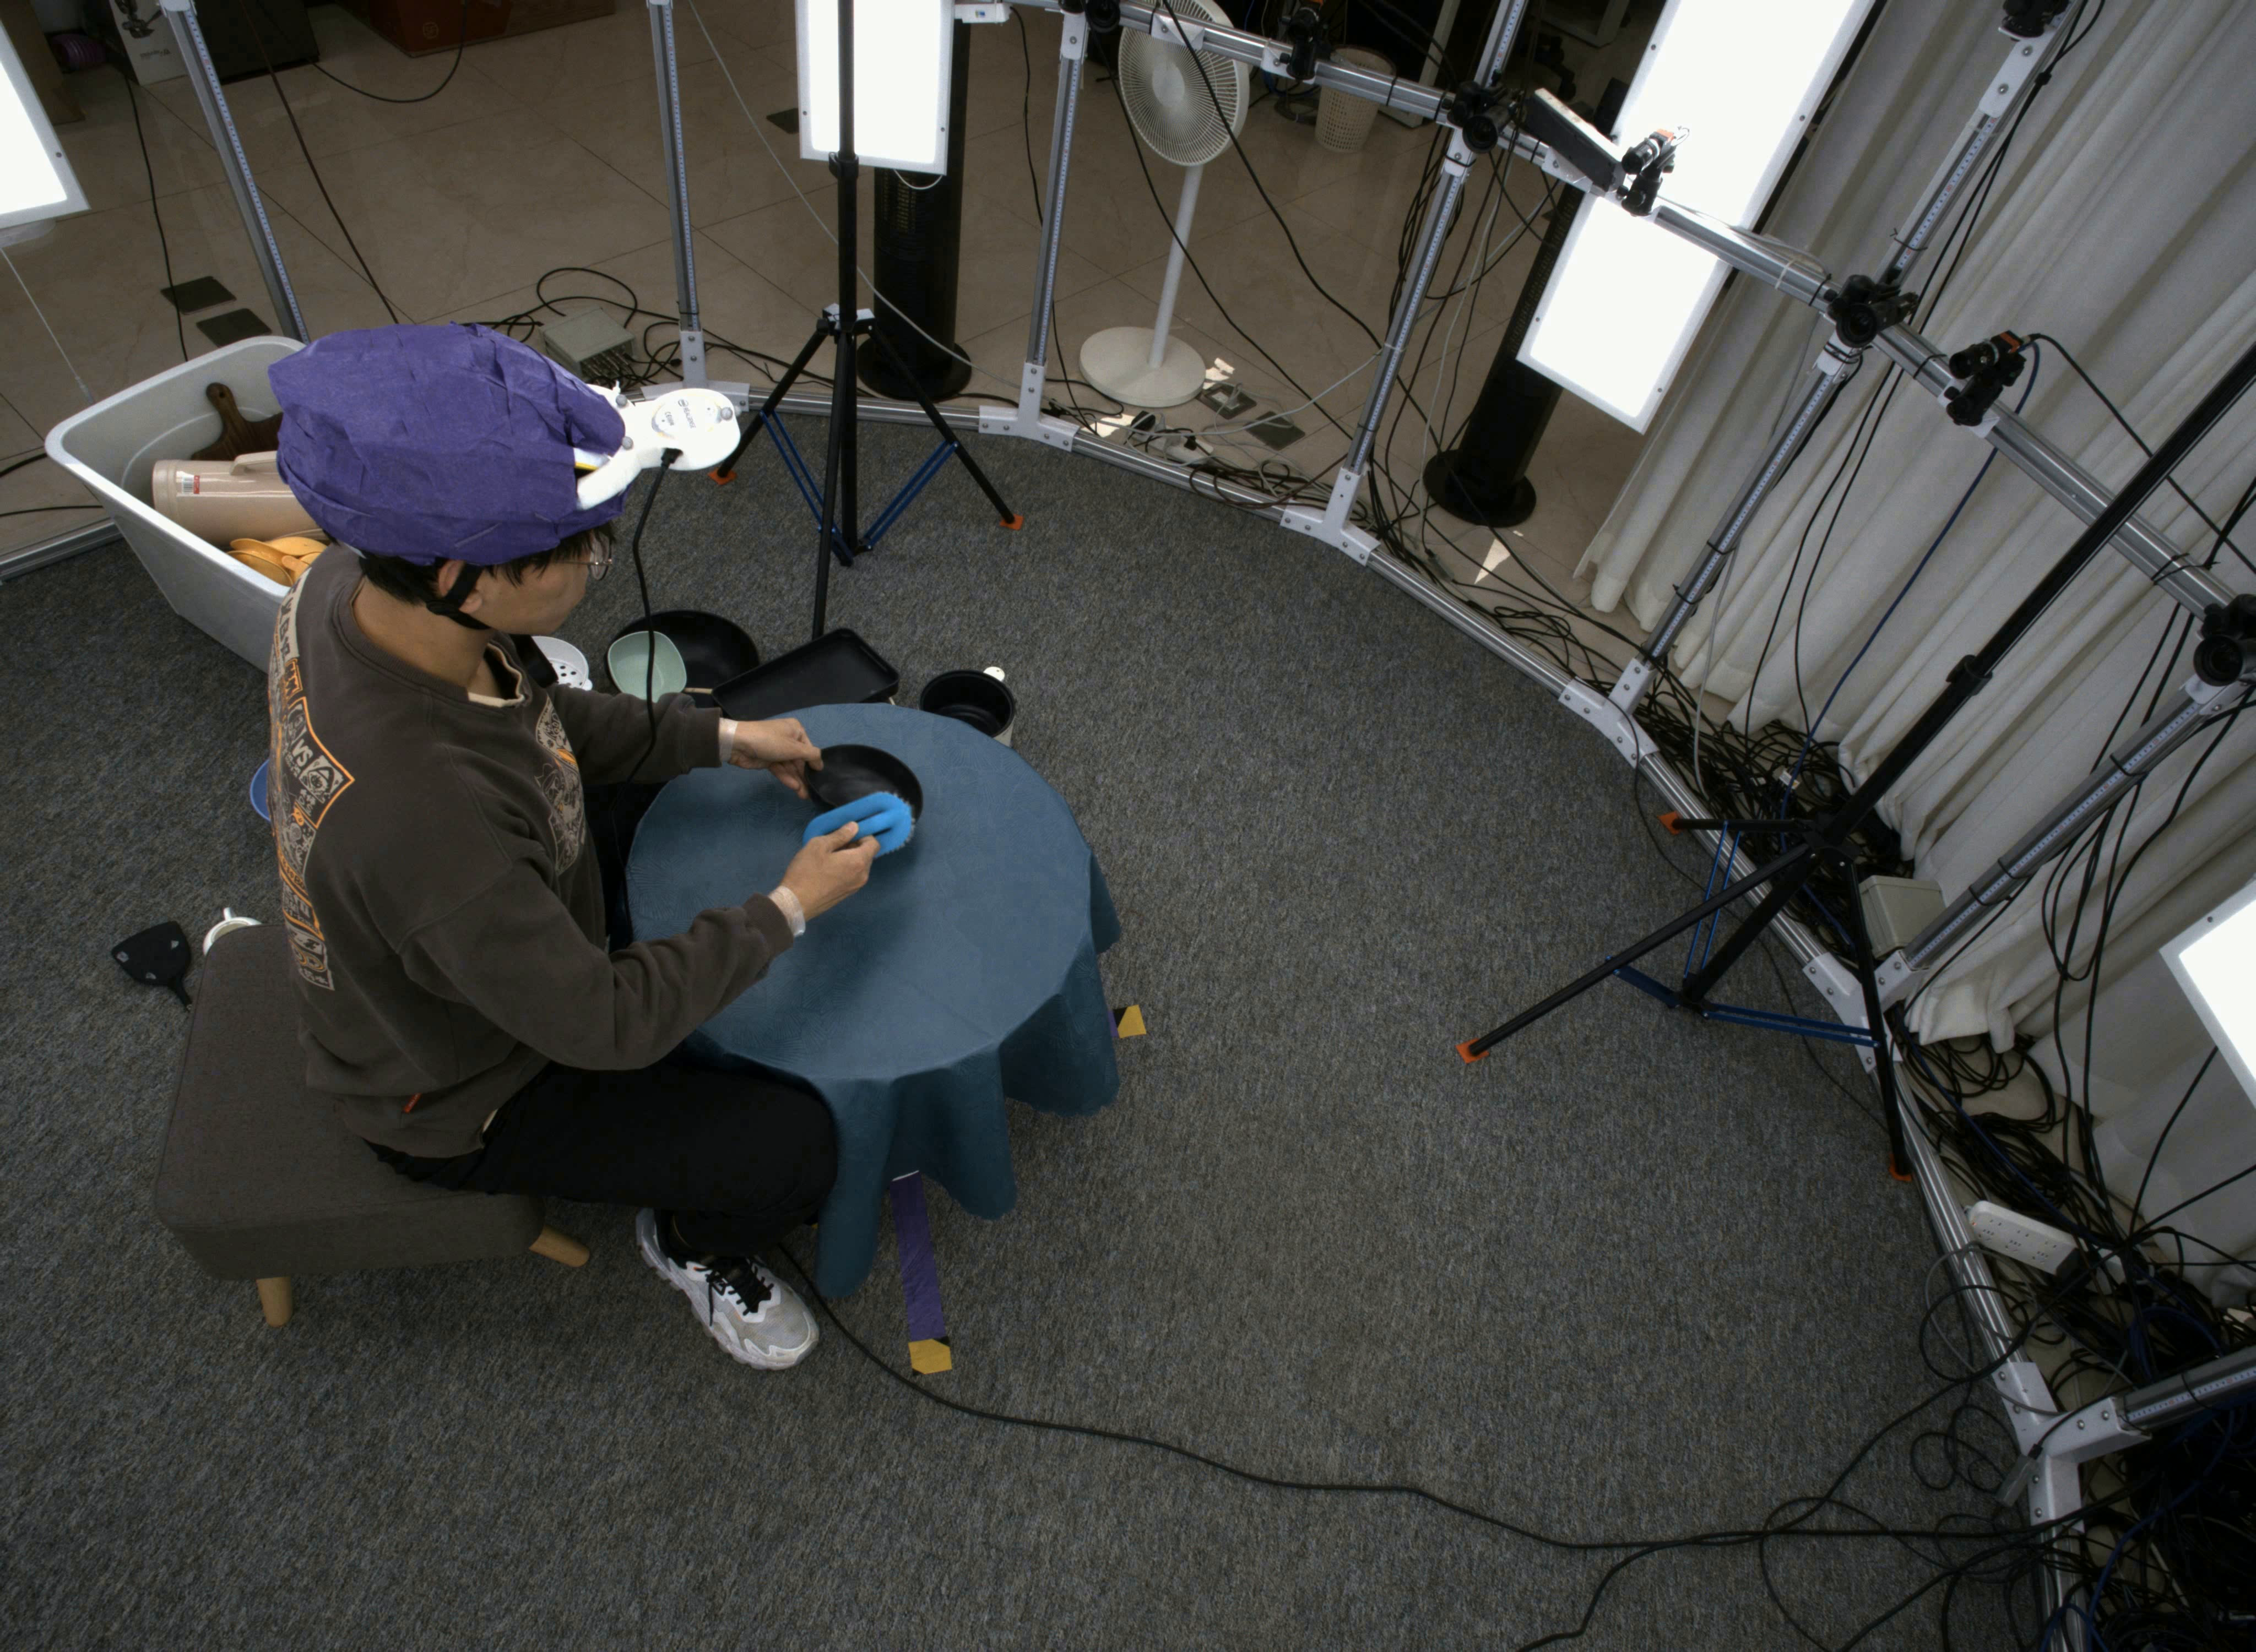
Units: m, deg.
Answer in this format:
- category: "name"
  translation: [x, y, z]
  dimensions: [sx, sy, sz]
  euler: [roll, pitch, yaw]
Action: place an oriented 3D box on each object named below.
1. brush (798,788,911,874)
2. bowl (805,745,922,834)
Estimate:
- category: "brush"
  translation: [-0.334, 0.007, 1.587]
  dimensions: [0.141, 0.063, 0.086]
  euler: [-19, 96, -3]
- category: "bowl"
  translation: [-0.353, -0.035, 1.725]
  dimensions: [0.167, 0.068, 0.137]
  euler: [33, 42, 10]
